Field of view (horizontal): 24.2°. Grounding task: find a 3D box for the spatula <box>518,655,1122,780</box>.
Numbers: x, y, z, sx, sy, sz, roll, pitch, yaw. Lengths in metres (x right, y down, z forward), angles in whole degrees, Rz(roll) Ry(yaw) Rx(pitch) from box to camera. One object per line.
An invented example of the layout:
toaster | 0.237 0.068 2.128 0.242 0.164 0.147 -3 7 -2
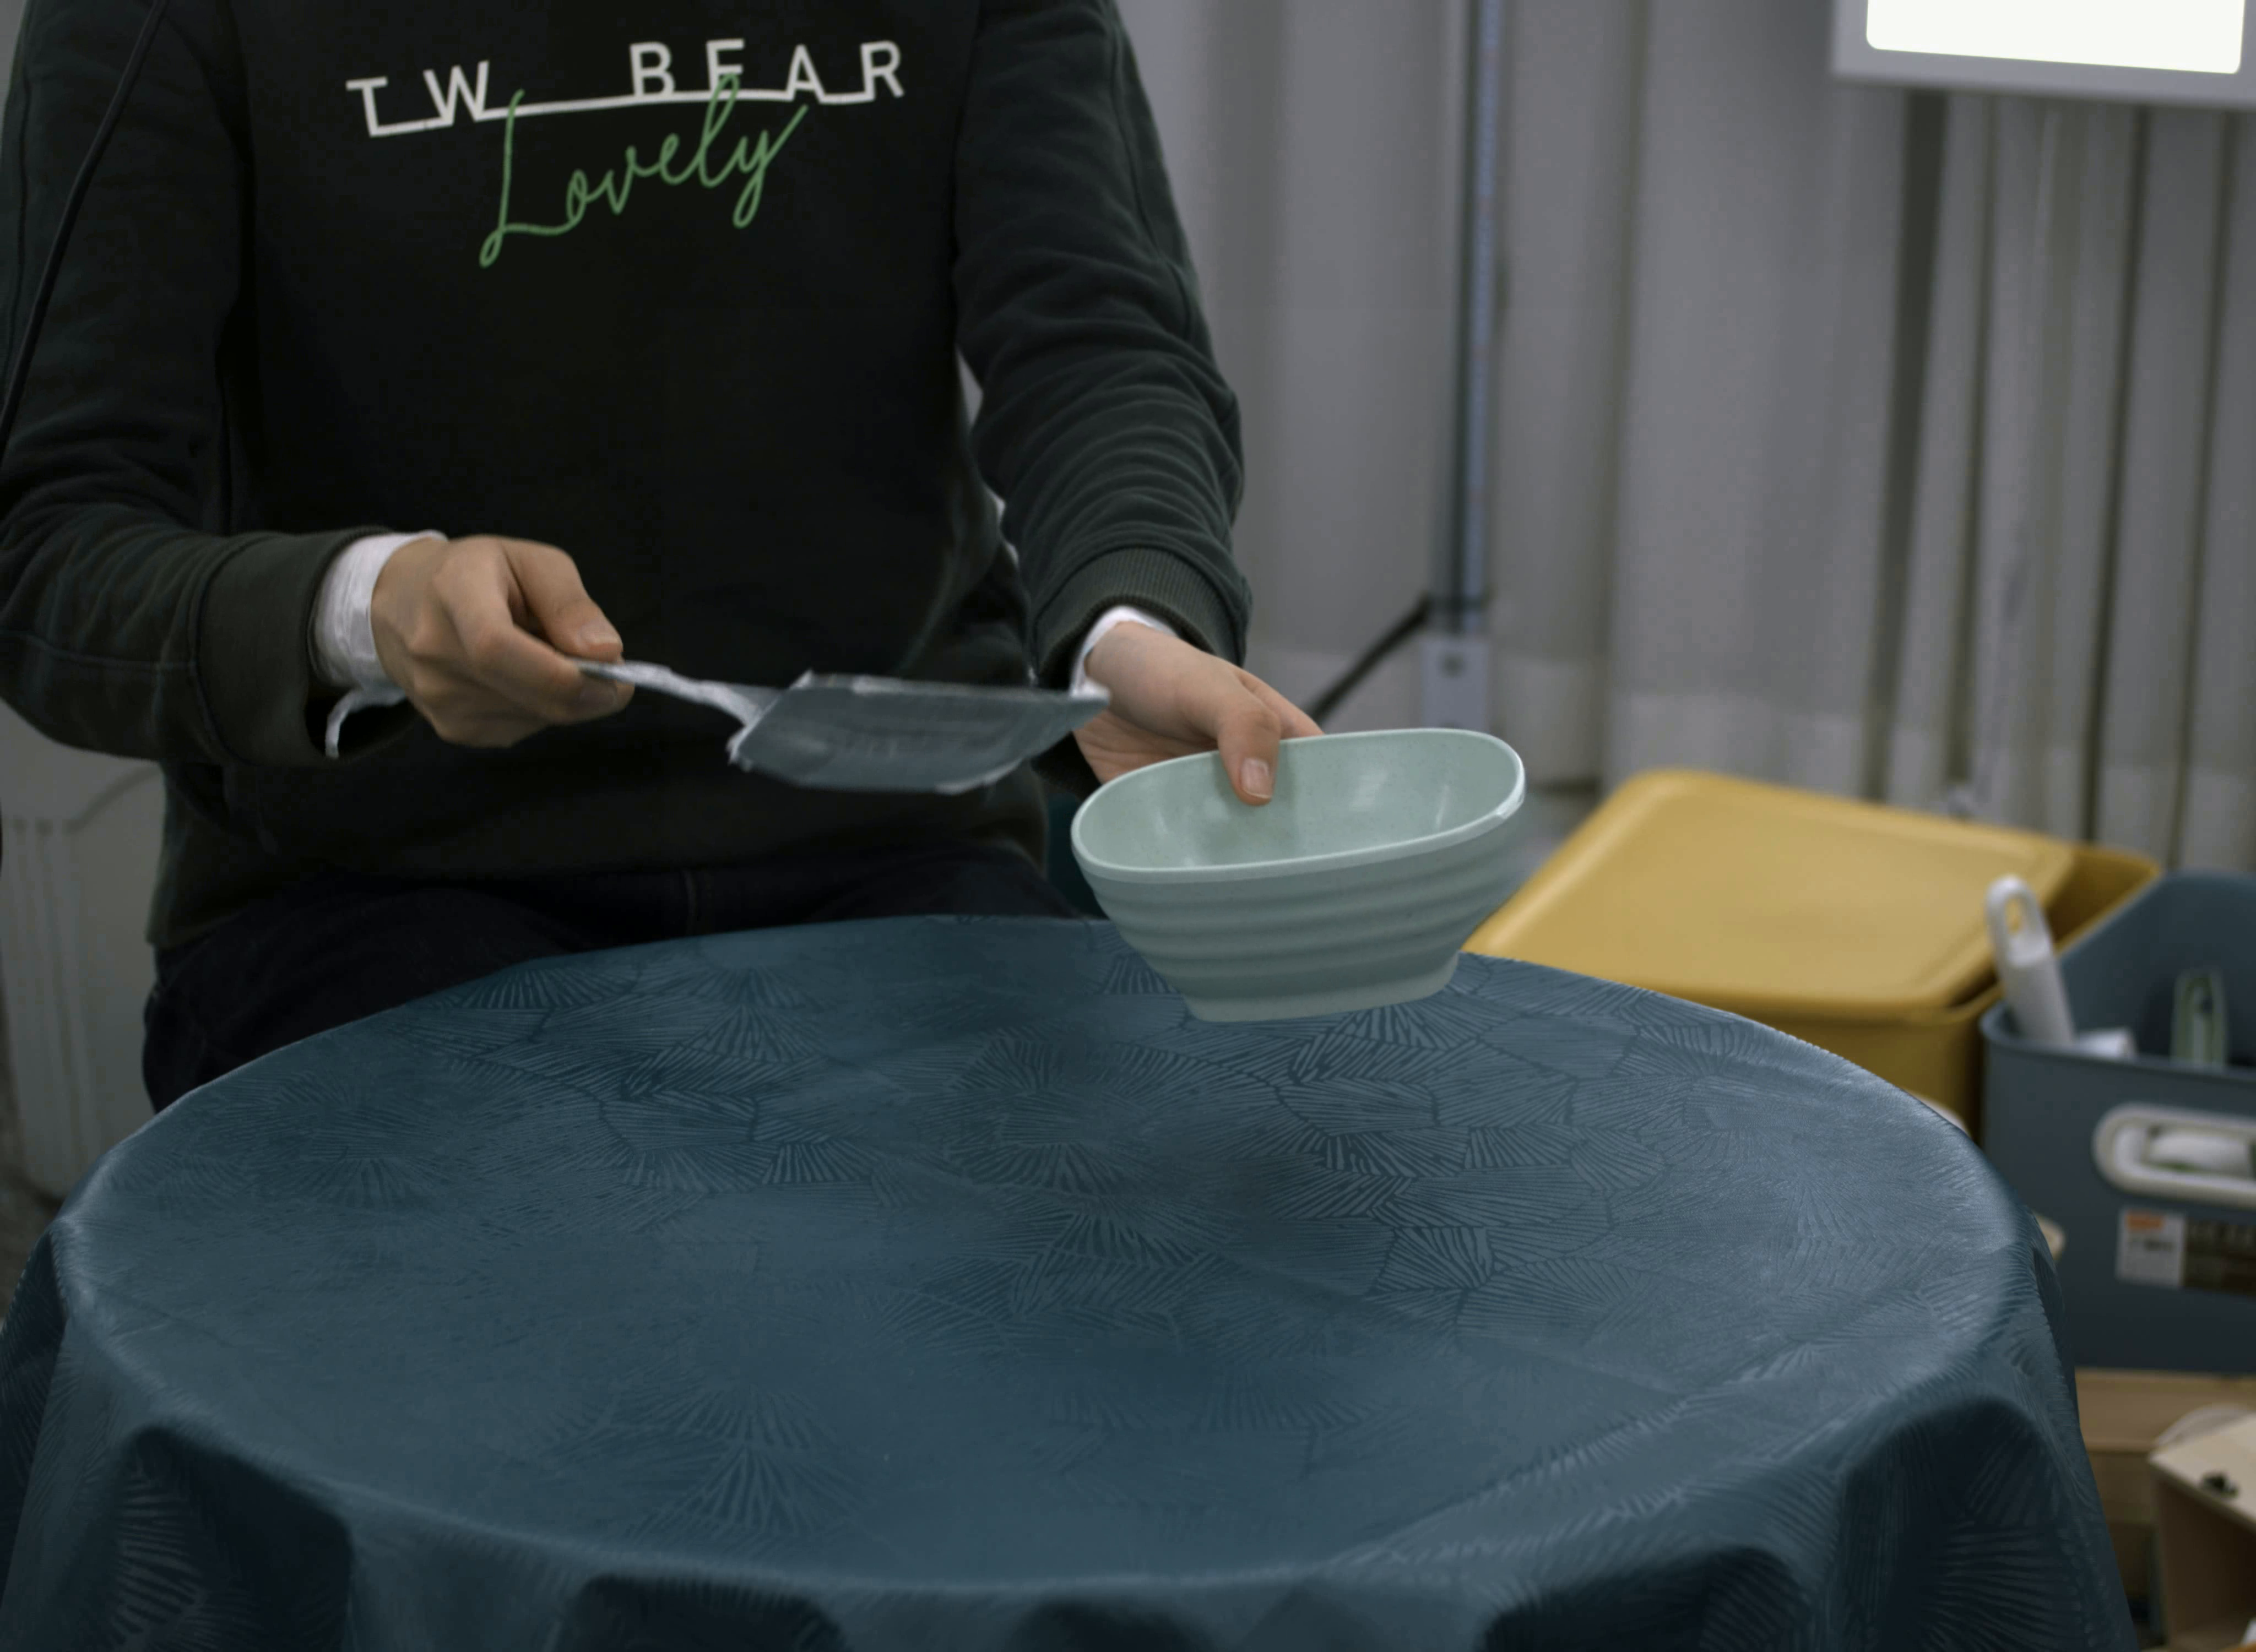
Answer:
spatula | -0.119 -0.045 1.585 0.099 0.045 0.361 1 7 -27

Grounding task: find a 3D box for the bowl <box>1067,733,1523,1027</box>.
bowl | 0.053 0.020 1.602 0.151 0.059 0.150 -5 17 2
